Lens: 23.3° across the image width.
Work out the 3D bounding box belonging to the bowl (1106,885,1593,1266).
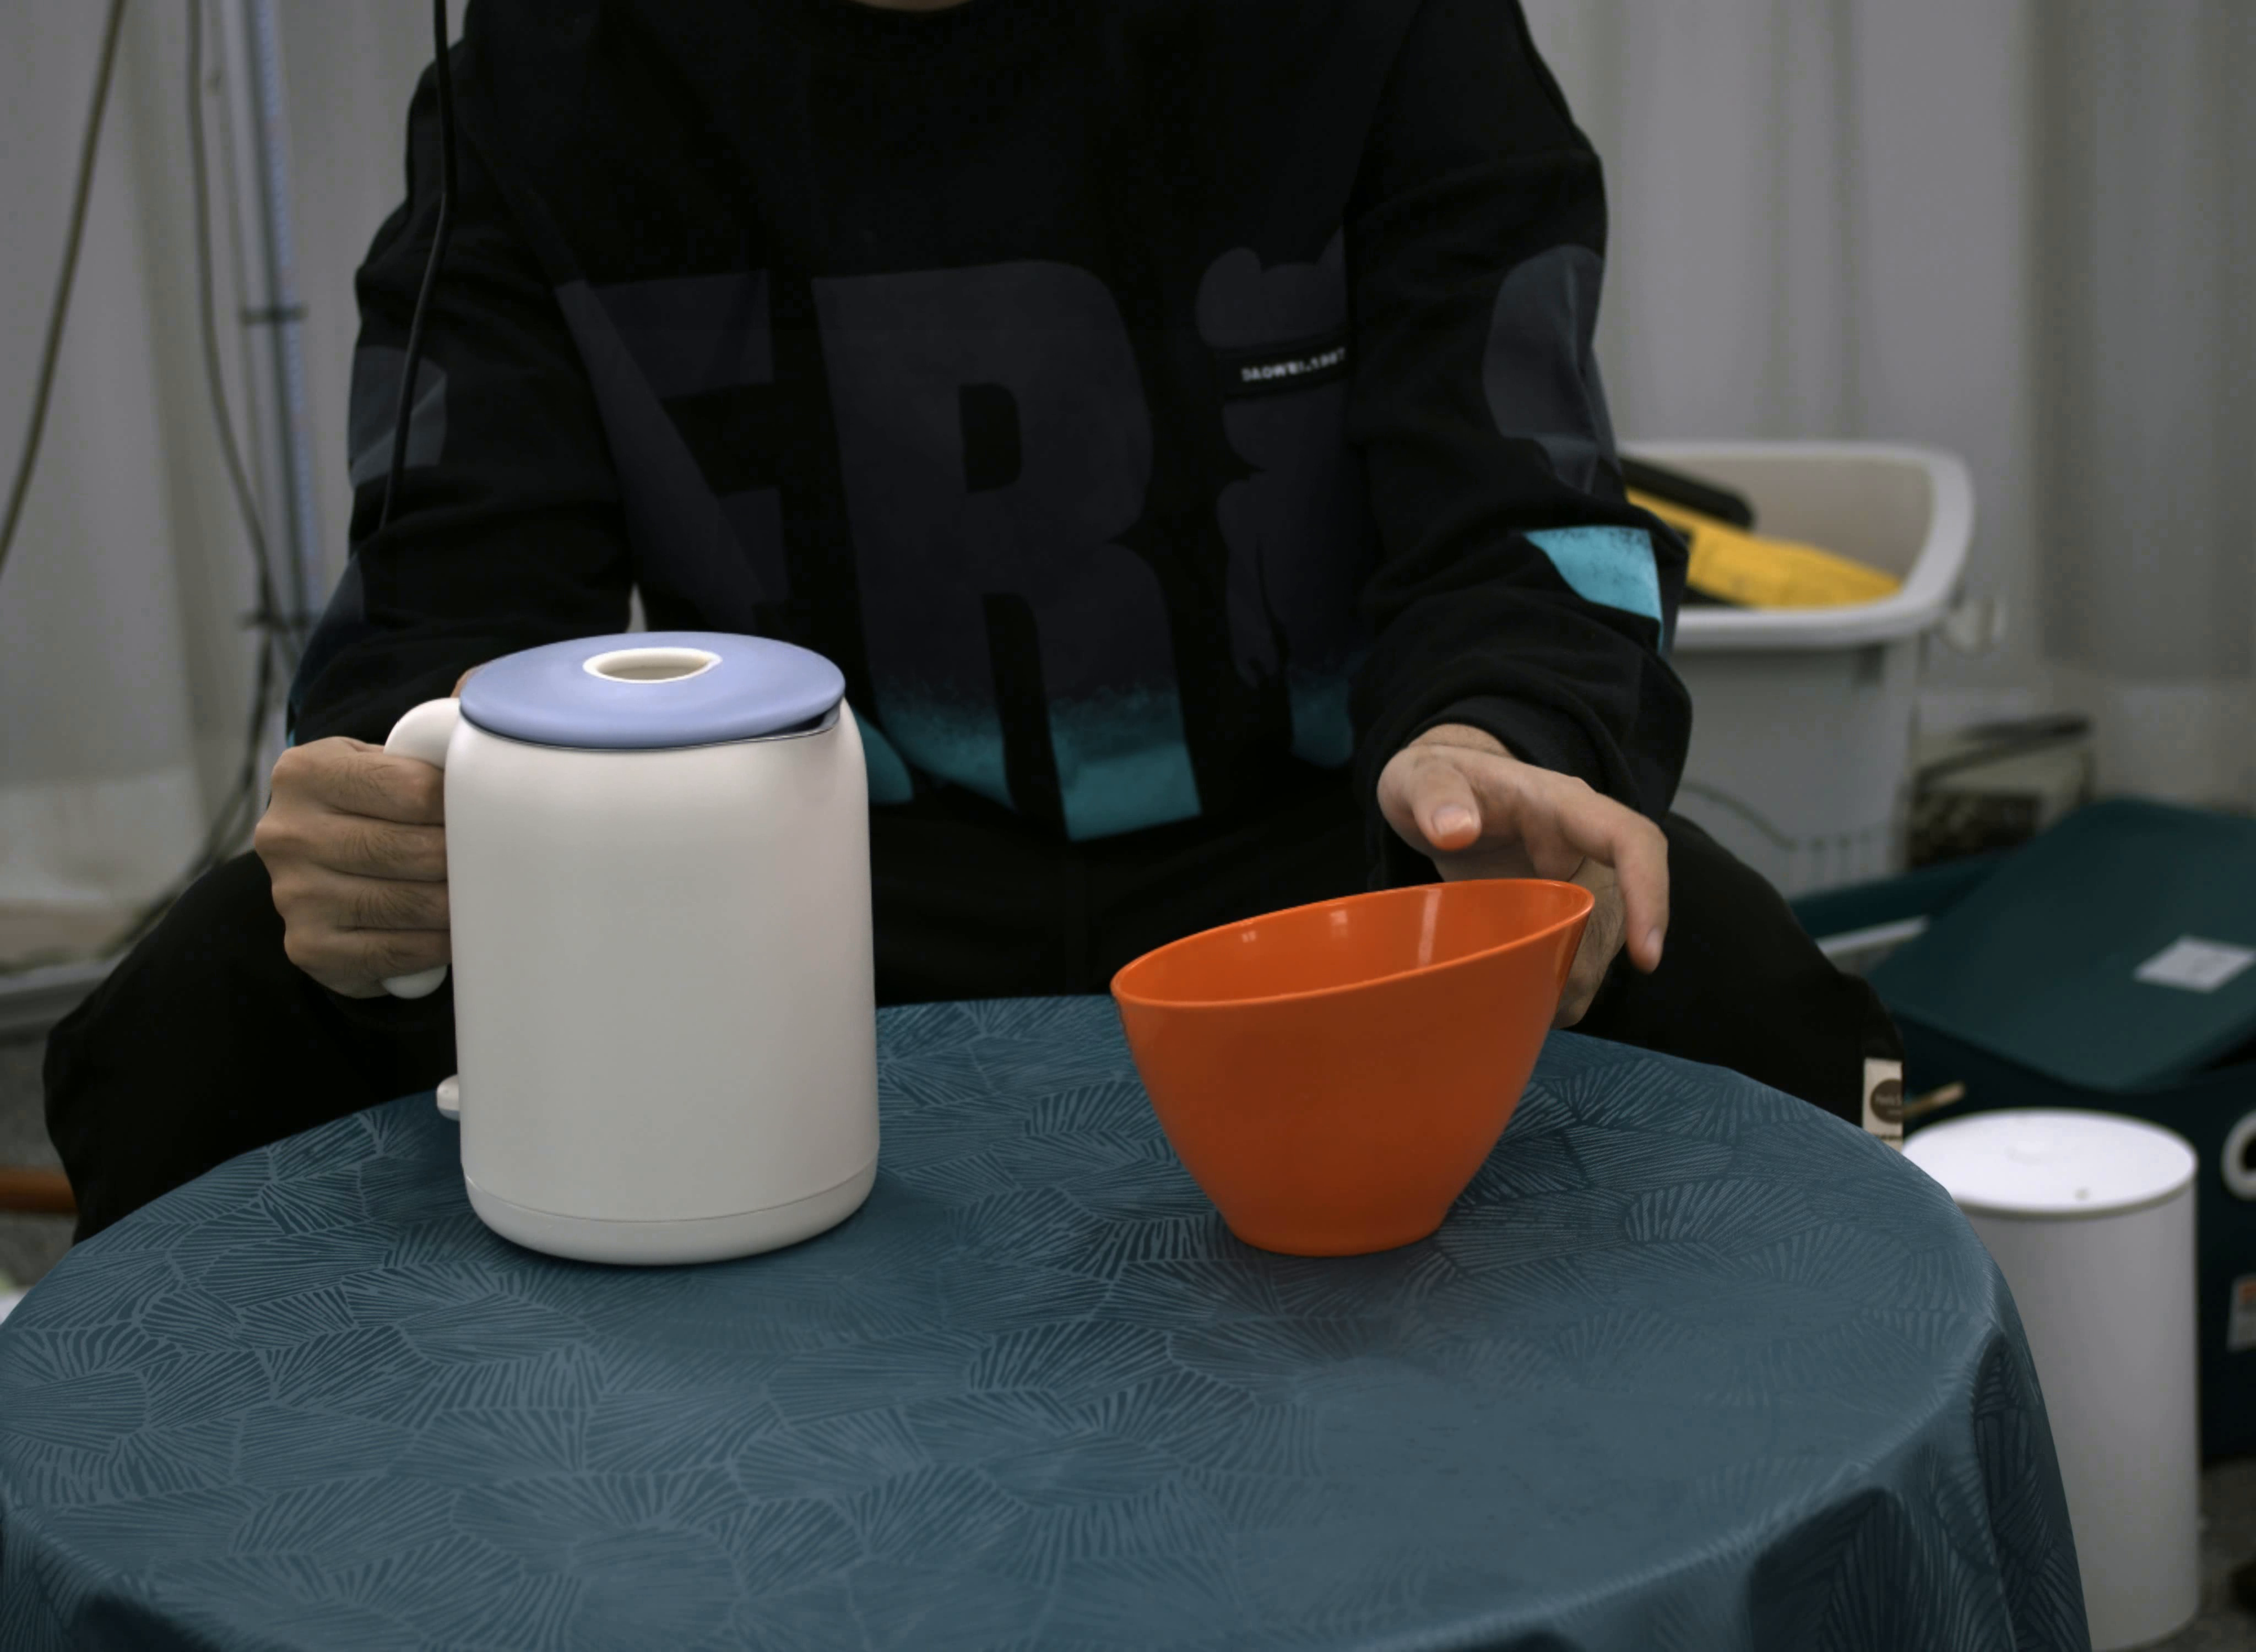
[{"bbox_3d":[0.068,0.075,1.654,0.147,0.104,0.149,-3,15,0],"label":"bowl"}]

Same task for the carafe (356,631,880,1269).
[{"bbox_3d":[-0.165,0.035,1.711,0.191,0.182,0.132,6,15,34],"label":"carafe"}]
